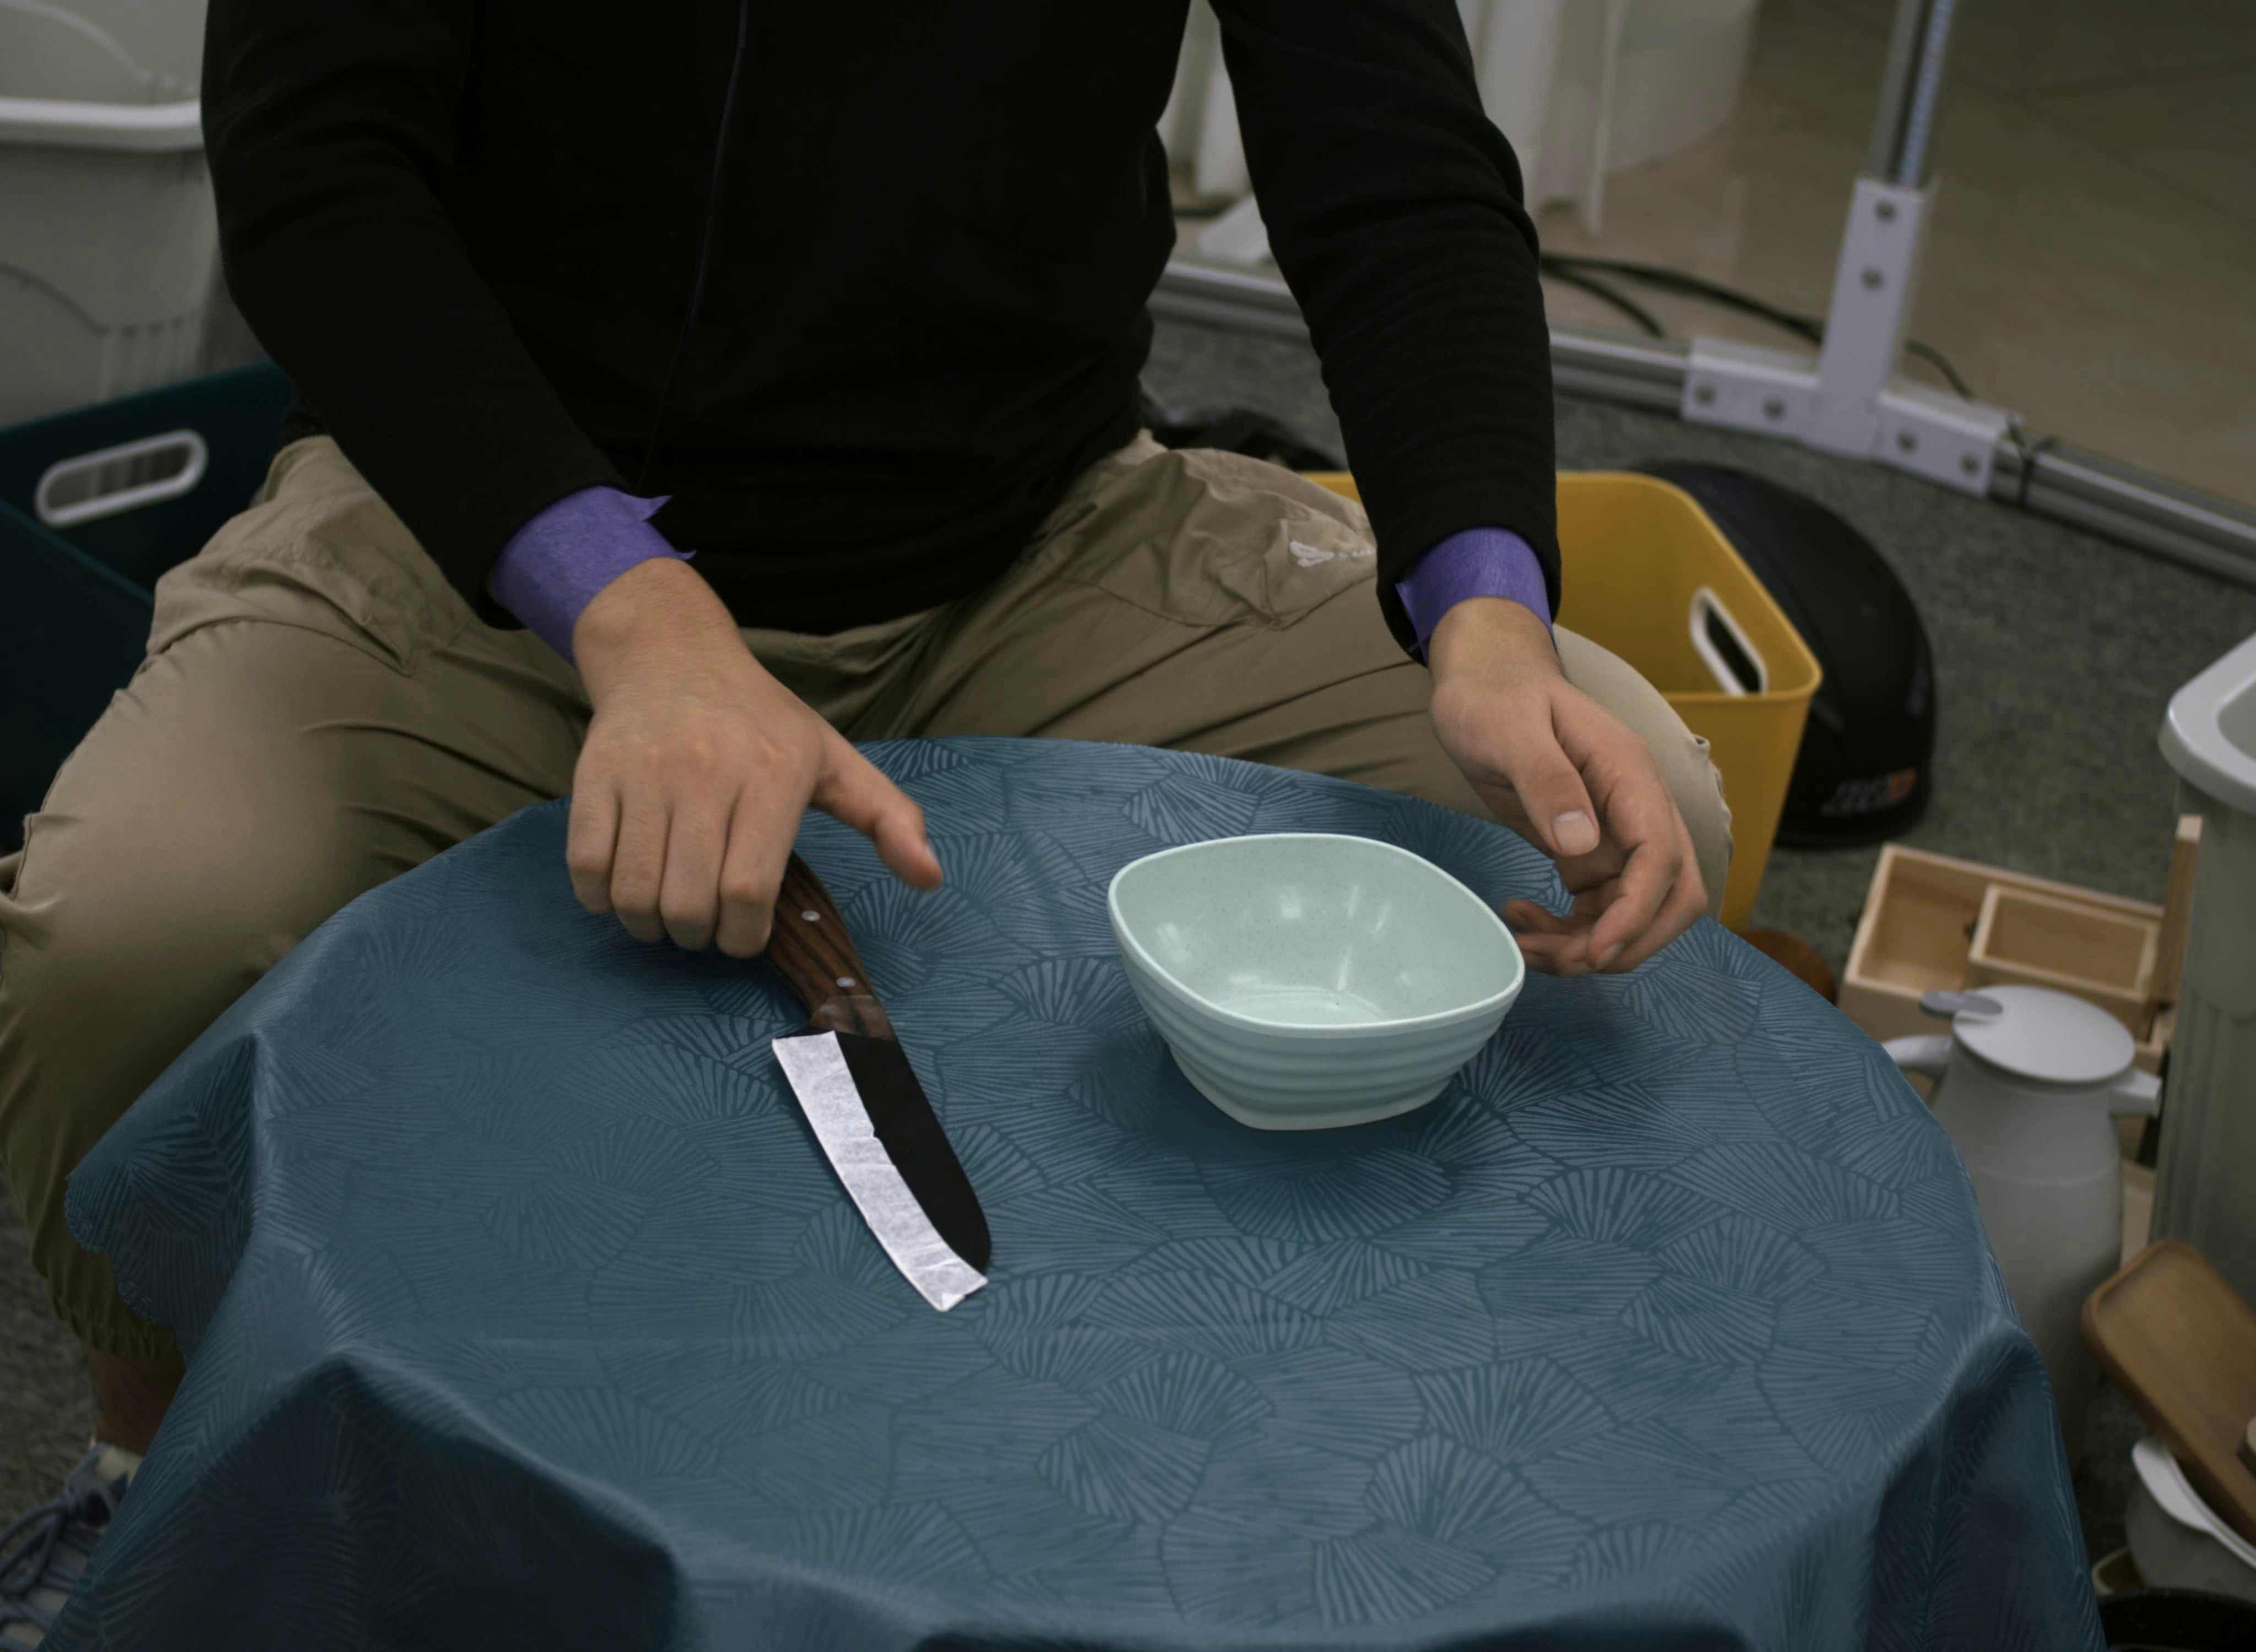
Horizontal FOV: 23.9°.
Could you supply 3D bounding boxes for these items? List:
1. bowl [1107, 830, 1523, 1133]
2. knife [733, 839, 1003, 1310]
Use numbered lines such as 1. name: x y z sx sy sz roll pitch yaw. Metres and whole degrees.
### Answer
1. bowl: 0.062 0.061 1.882 0.151 0.058 0.152 5 28 -3
2. knife: -0.094 0.084 1.845 0.050 0.020 0.292 -6 32 -15
